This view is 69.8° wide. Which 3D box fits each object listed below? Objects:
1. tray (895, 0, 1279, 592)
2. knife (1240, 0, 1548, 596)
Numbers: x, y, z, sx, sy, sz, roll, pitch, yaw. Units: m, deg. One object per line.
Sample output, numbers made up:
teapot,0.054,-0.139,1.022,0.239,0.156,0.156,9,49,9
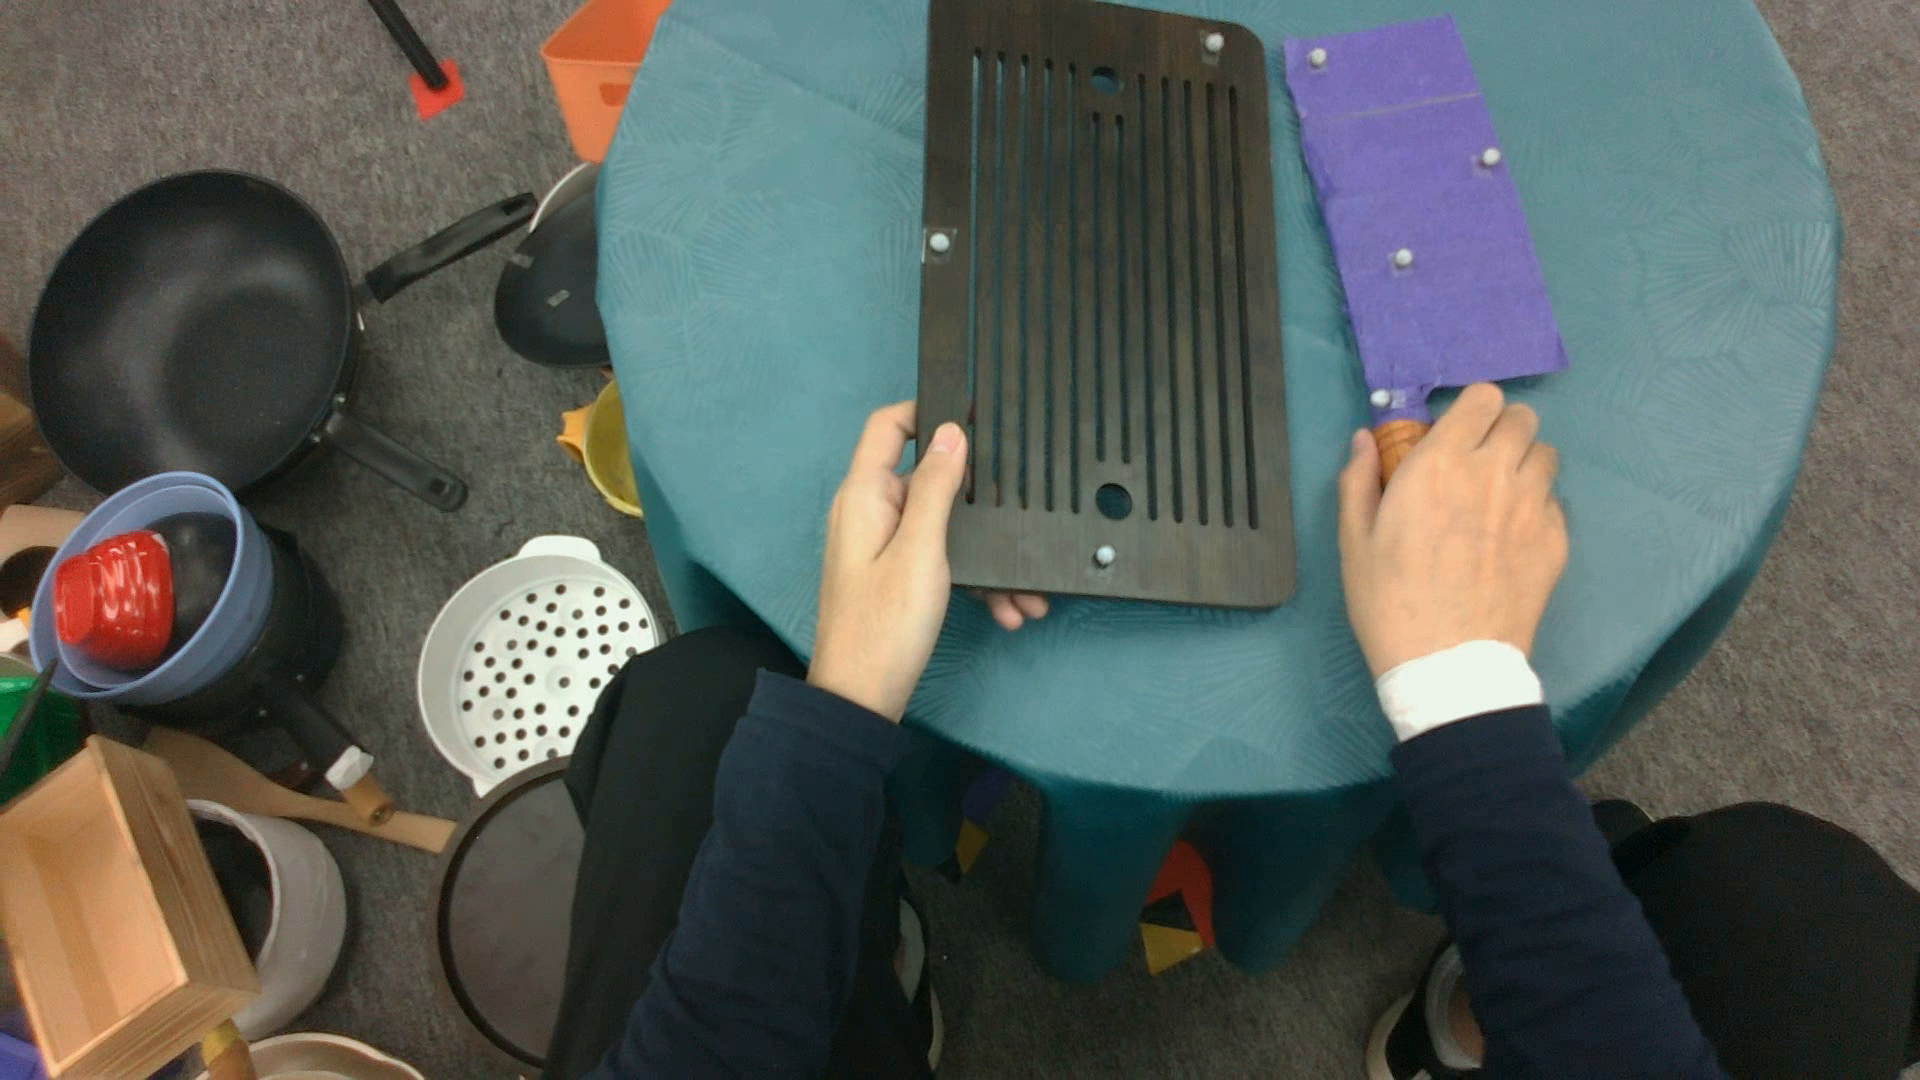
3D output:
tray,0.056,-0.126,0.638,0.170,0.018,0.307,4,71,-10
knife,0.216,-0.130,0.642,0.104,0.032,0.316,-10,69,1
